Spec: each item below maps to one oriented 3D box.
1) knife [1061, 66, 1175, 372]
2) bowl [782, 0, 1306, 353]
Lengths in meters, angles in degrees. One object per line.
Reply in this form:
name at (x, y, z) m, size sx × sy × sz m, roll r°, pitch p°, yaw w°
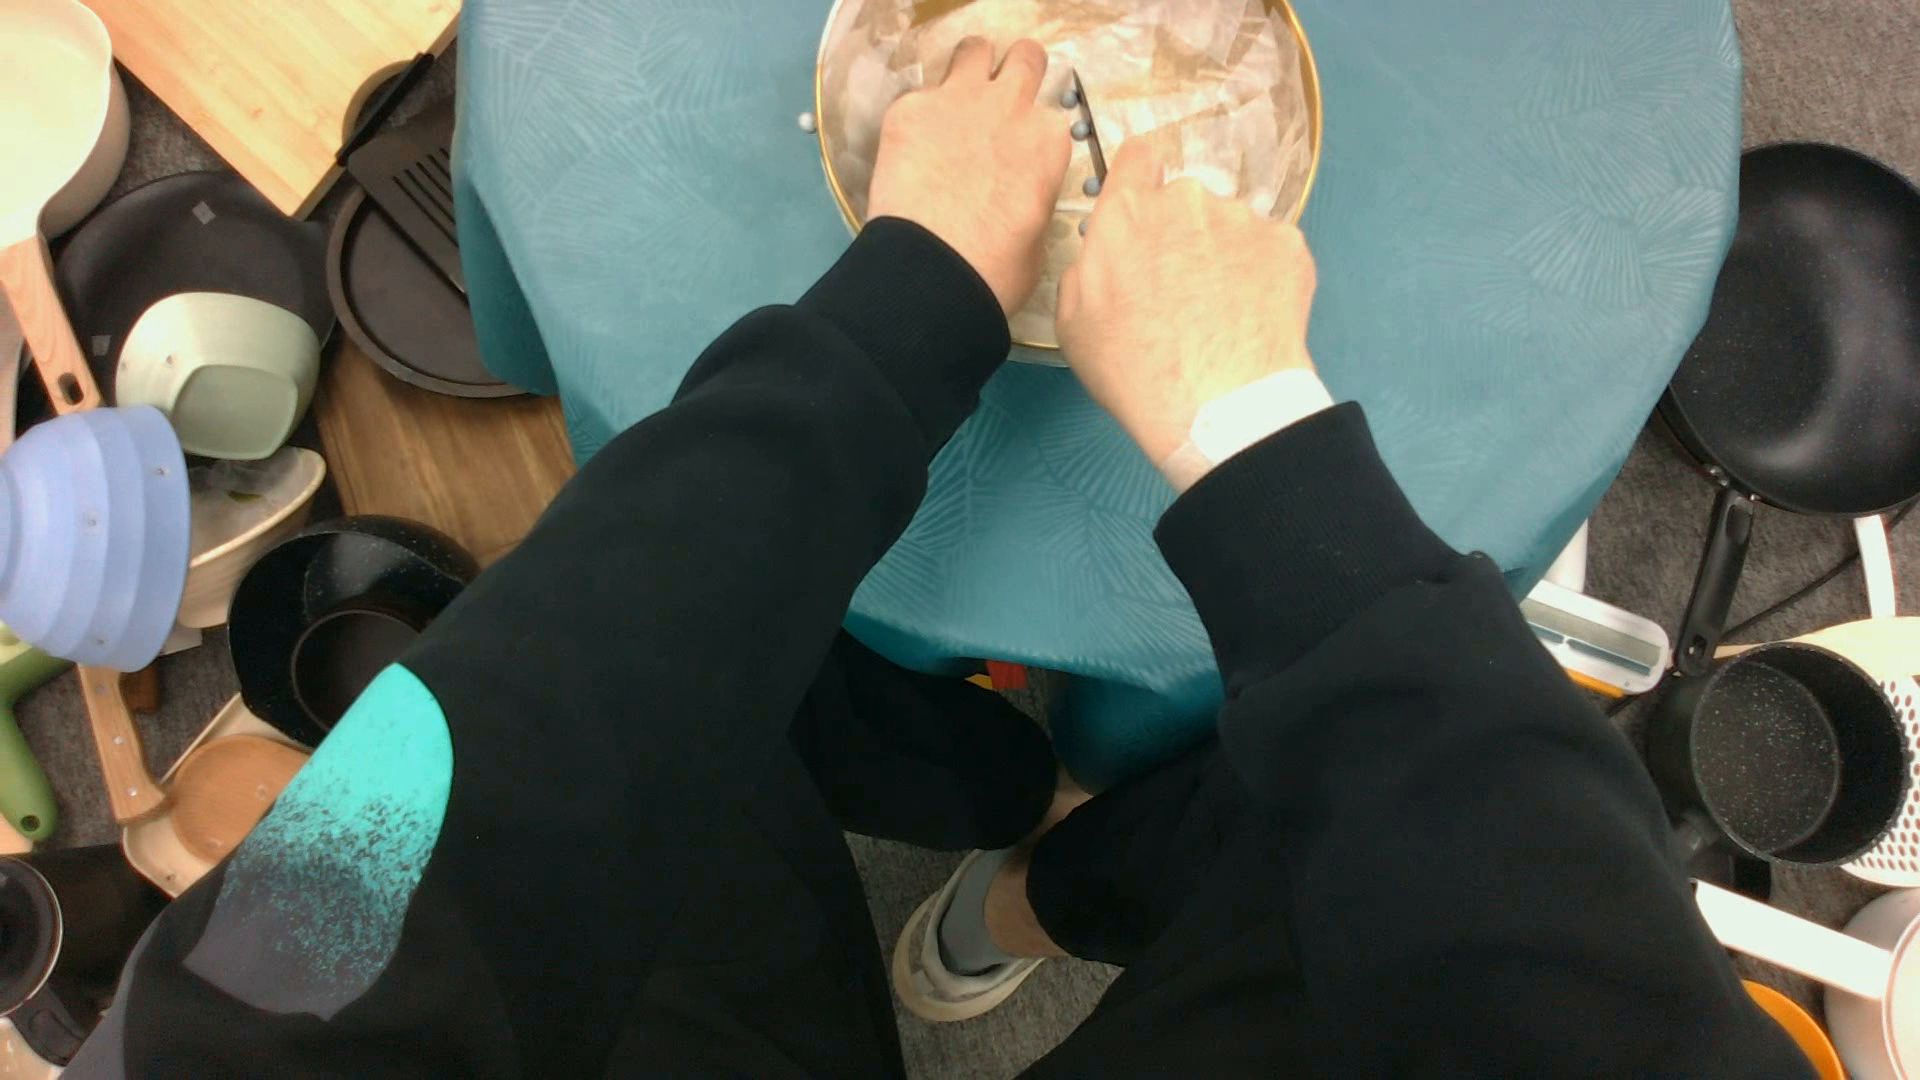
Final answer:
knife at (0.057, -0.141, 0.550) m, size 0.017 × 0.026 × 0.226 m, roll -22°, pitch 44°, yaw 14°
bowl at (0.031, -0.163, 0.582) m, size 0.215 × 0.094 × 0.215 m, roll 1°, pitch 78°, yaw -5°
